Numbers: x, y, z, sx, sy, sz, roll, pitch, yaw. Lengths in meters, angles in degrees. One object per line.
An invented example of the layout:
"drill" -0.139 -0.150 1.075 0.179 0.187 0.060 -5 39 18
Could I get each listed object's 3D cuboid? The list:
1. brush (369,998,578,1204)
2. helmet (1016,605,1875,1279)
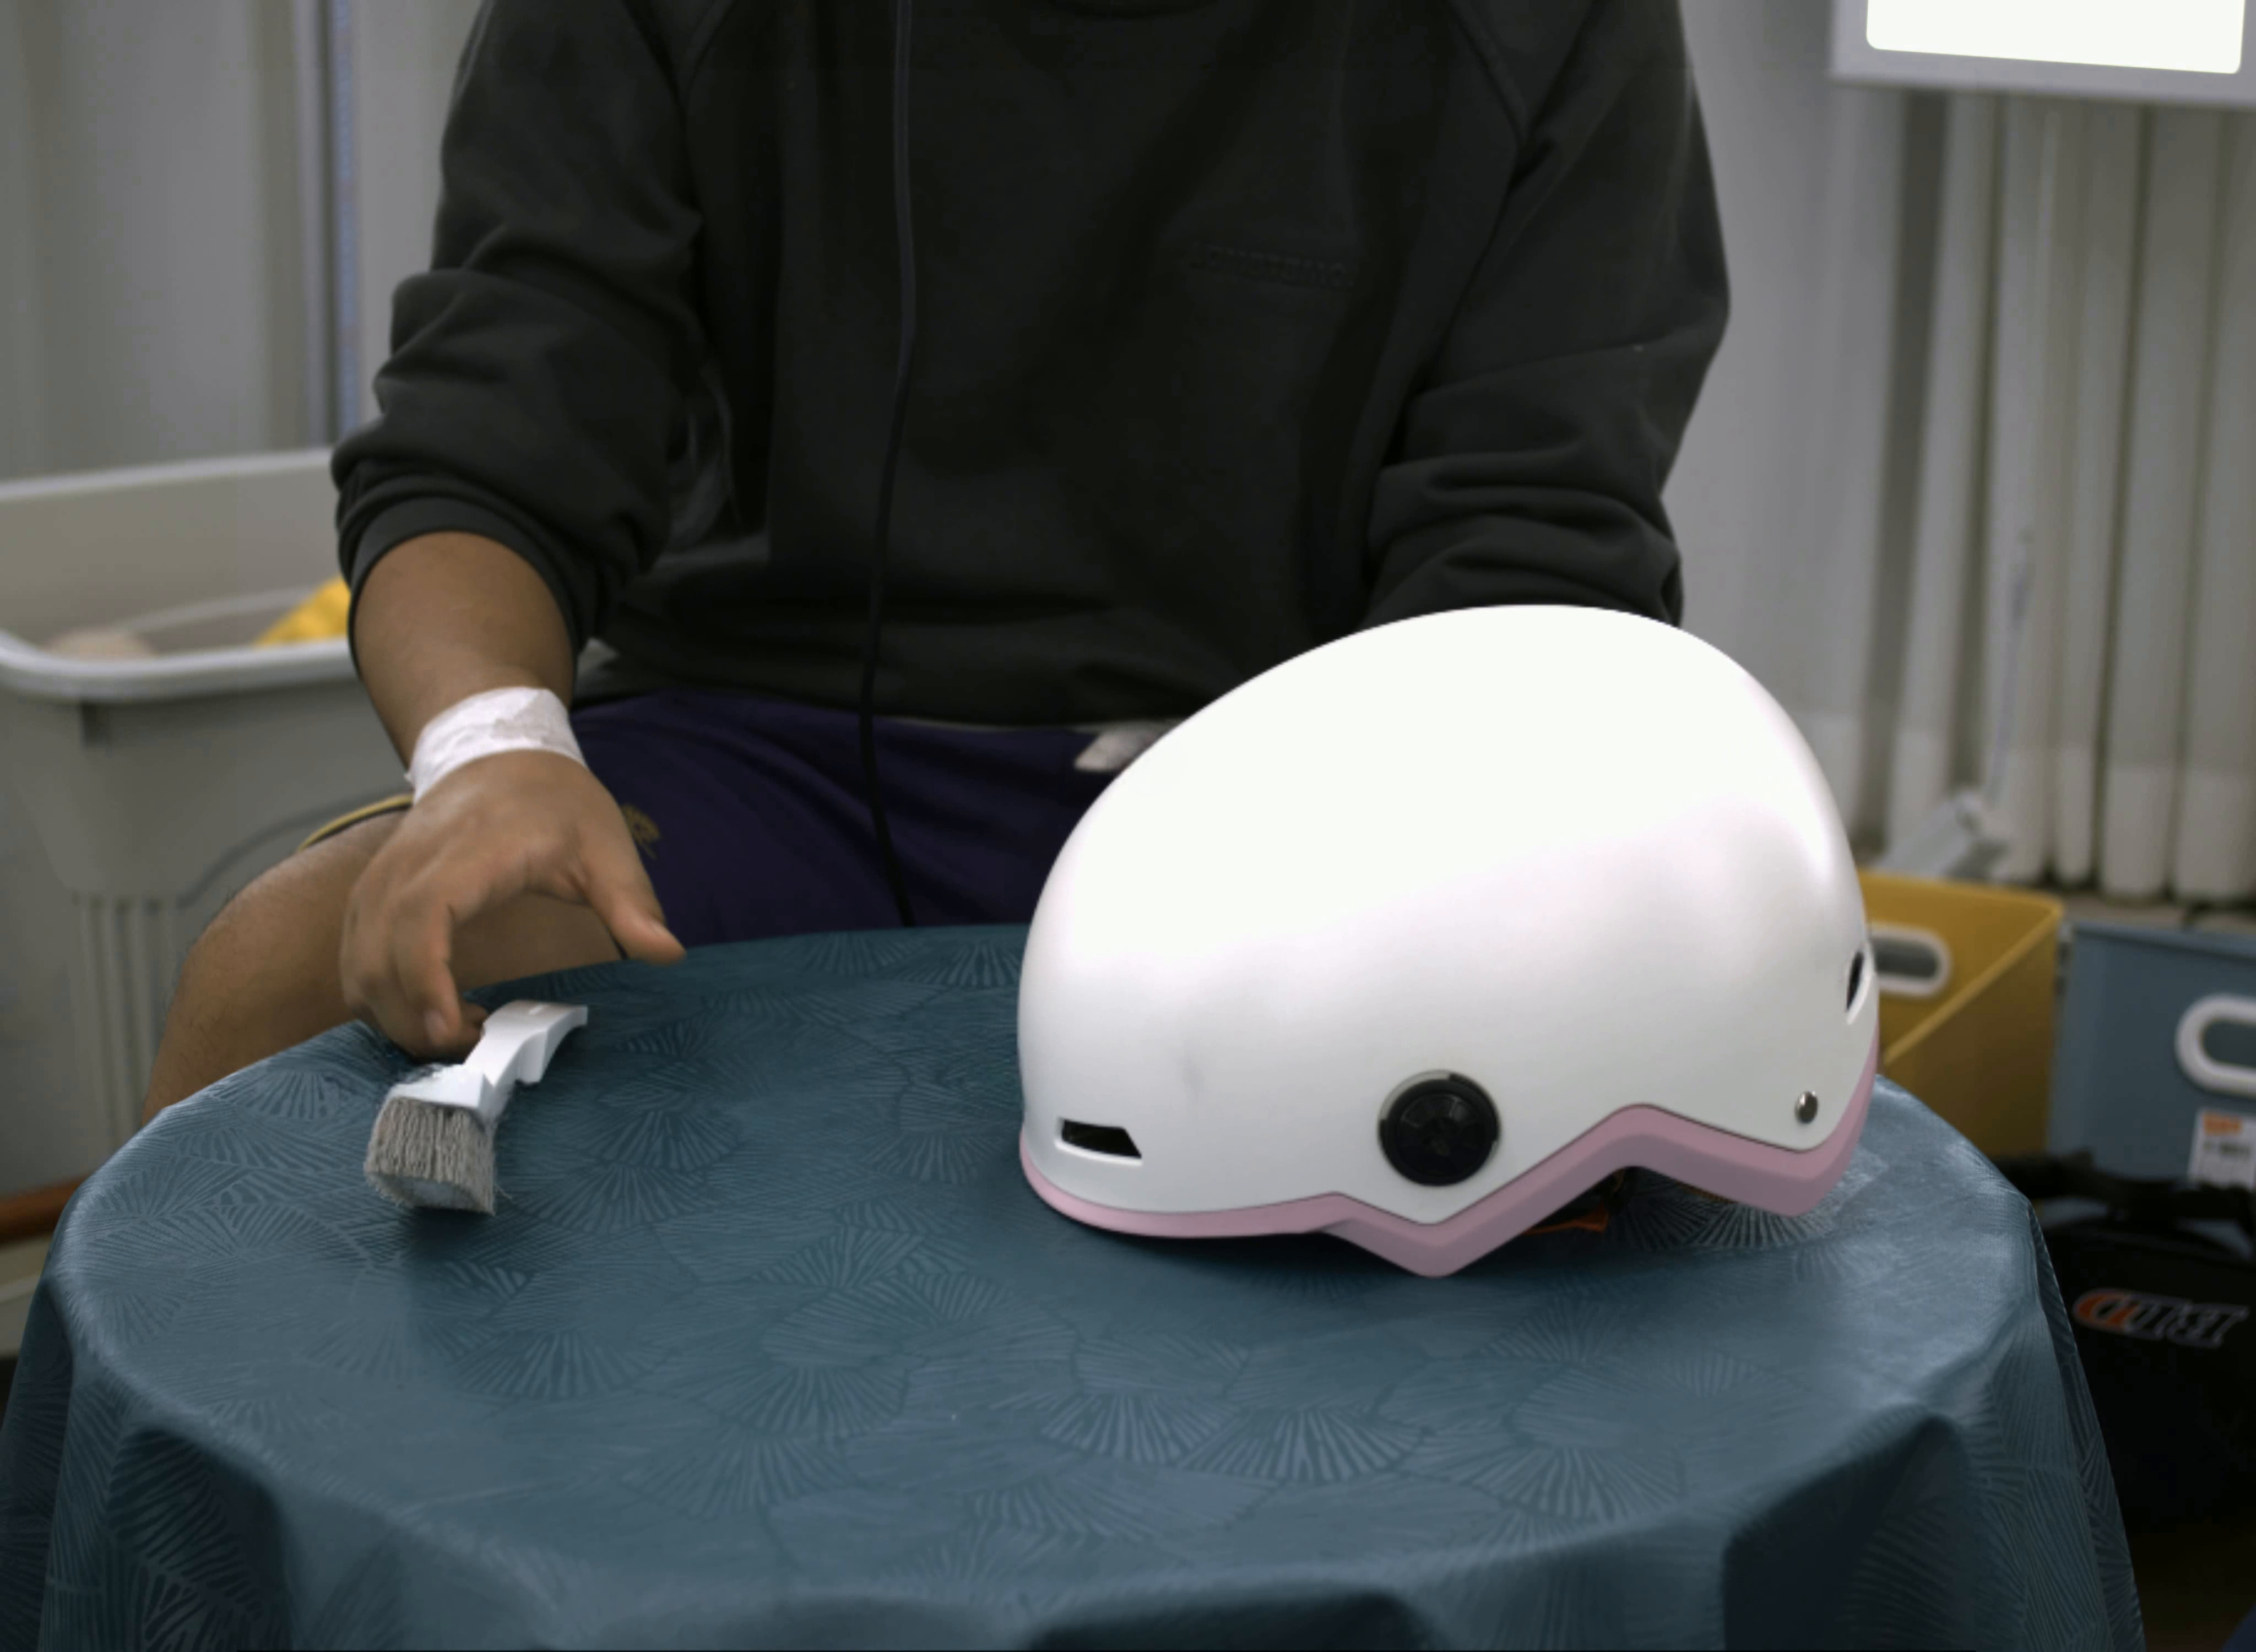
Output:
"brush" -0.203 0.086 1.663 0.034 0.050 0.243 5 3 2
"helmet" 0.095 0.021 1.621 0.268 0.168 0.235 -5 21 -7
